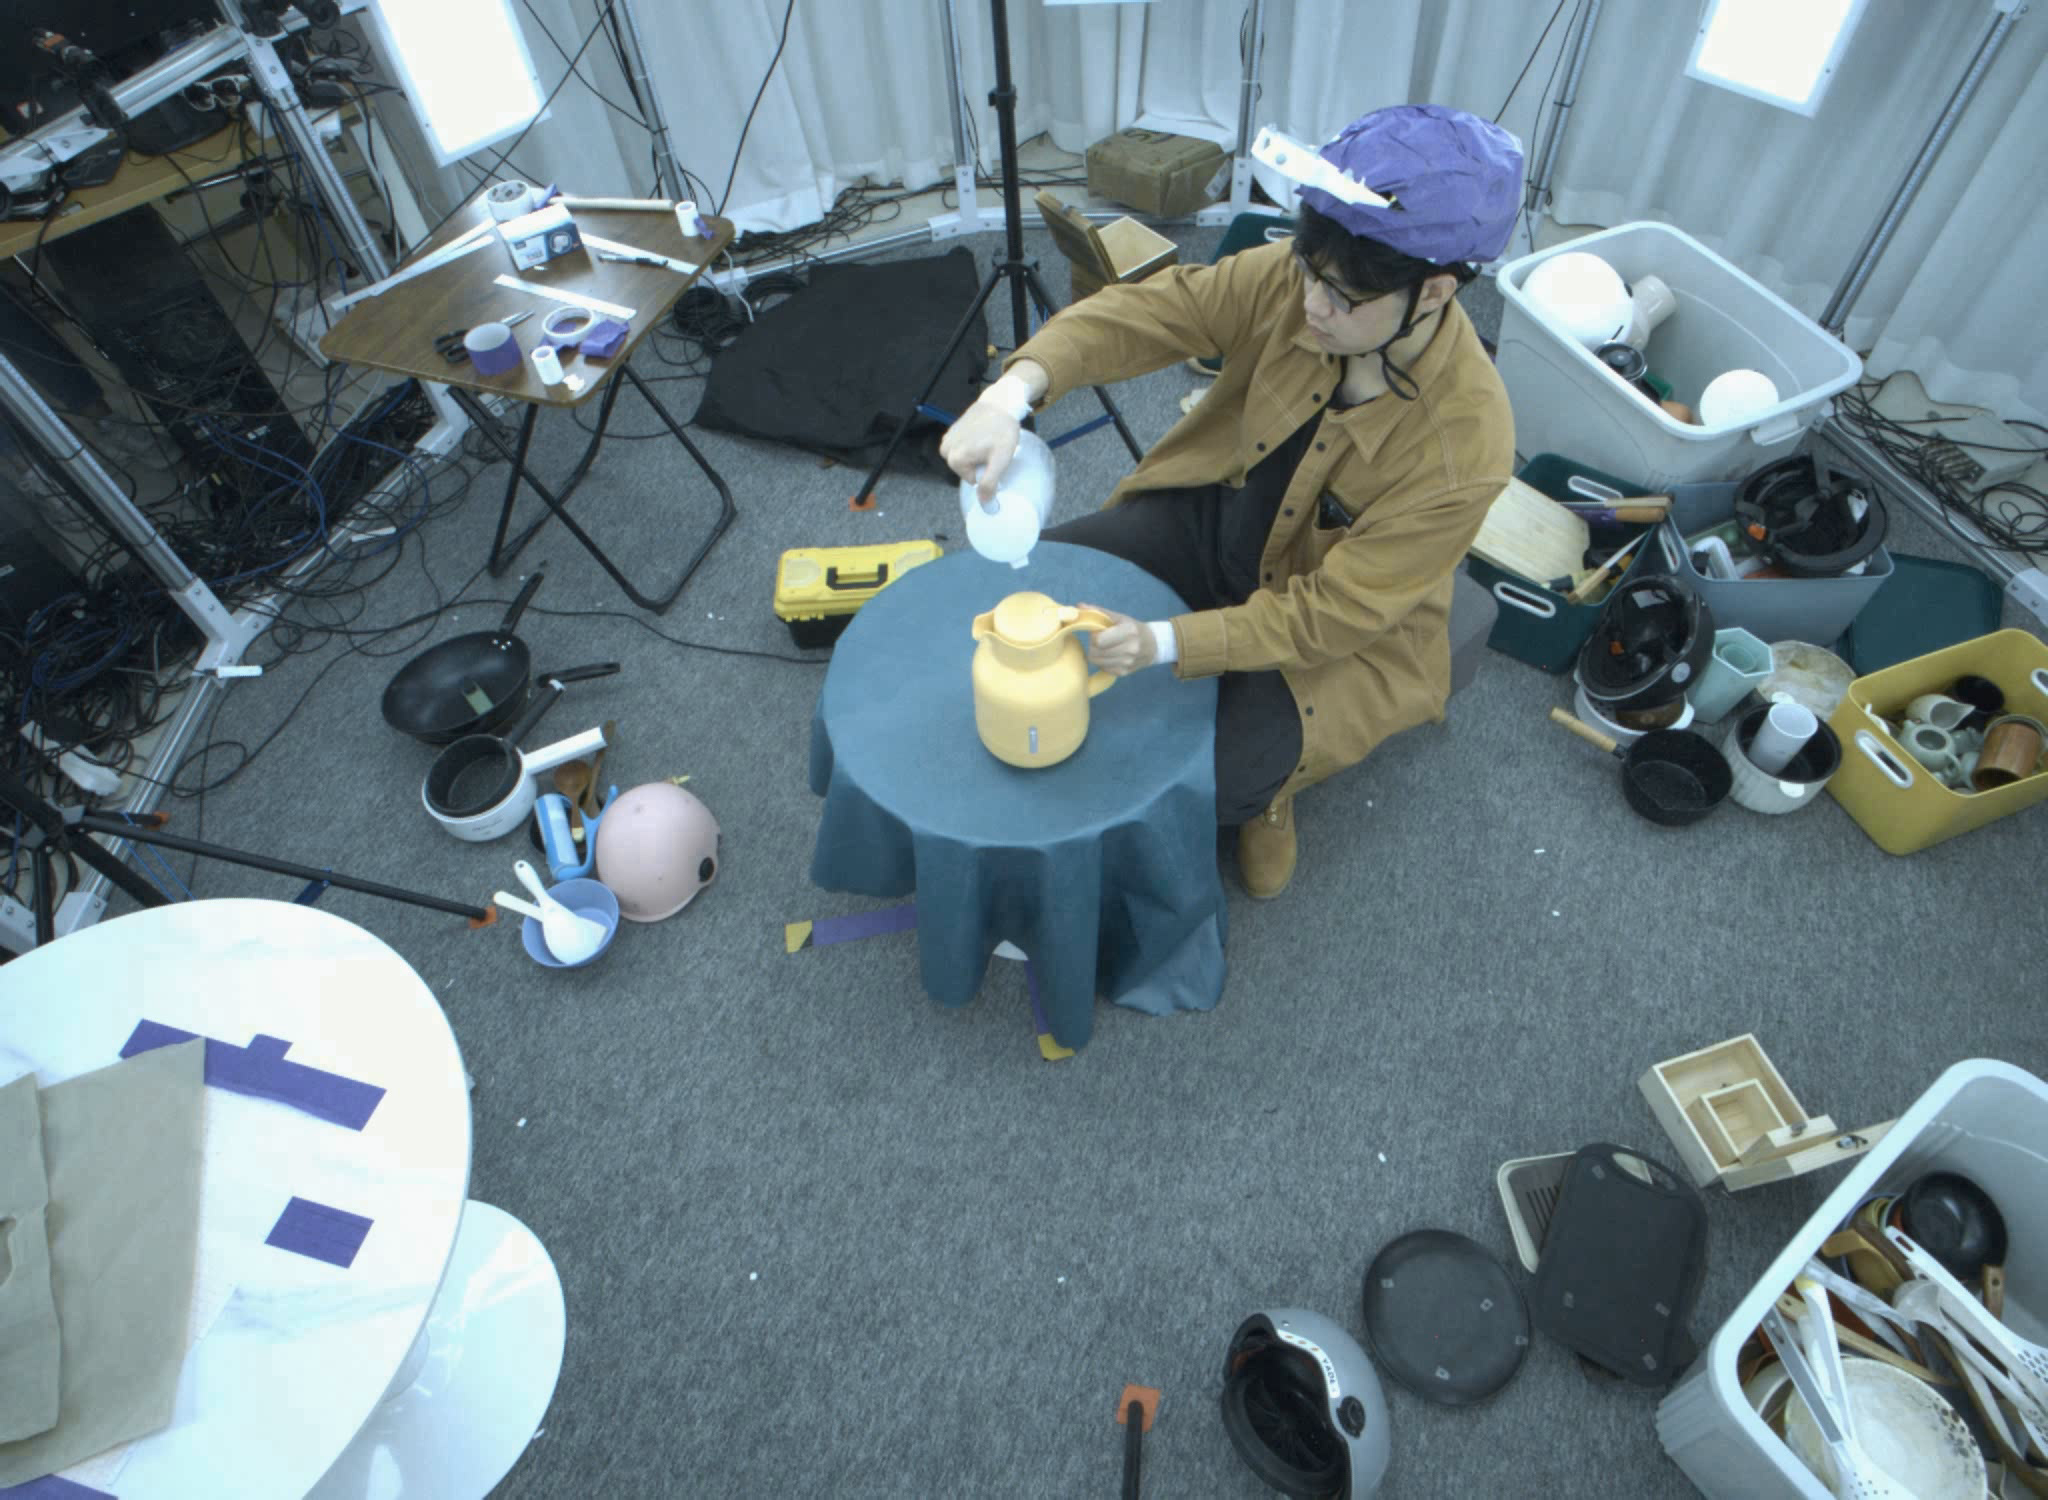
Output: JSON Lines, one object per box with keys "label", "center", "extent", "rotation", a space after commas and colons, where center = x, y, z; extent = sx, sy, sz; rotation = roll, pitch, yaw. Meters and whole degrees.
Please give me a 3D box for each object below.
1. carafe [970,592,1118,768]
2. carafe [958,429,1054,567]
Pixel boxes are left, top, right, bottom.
{"label": "carafe", "center": [0.028, -0.102, 1.695], "extent": [0.202, 0.263, 0.161], "rotation": [-4, 55, 1]}
{"label": "carafe", "center": [-0.034, -0.349, 1.607], "extent": [0.132, 0.170, 0.246], "rotation": [-19, 27, 11]}
